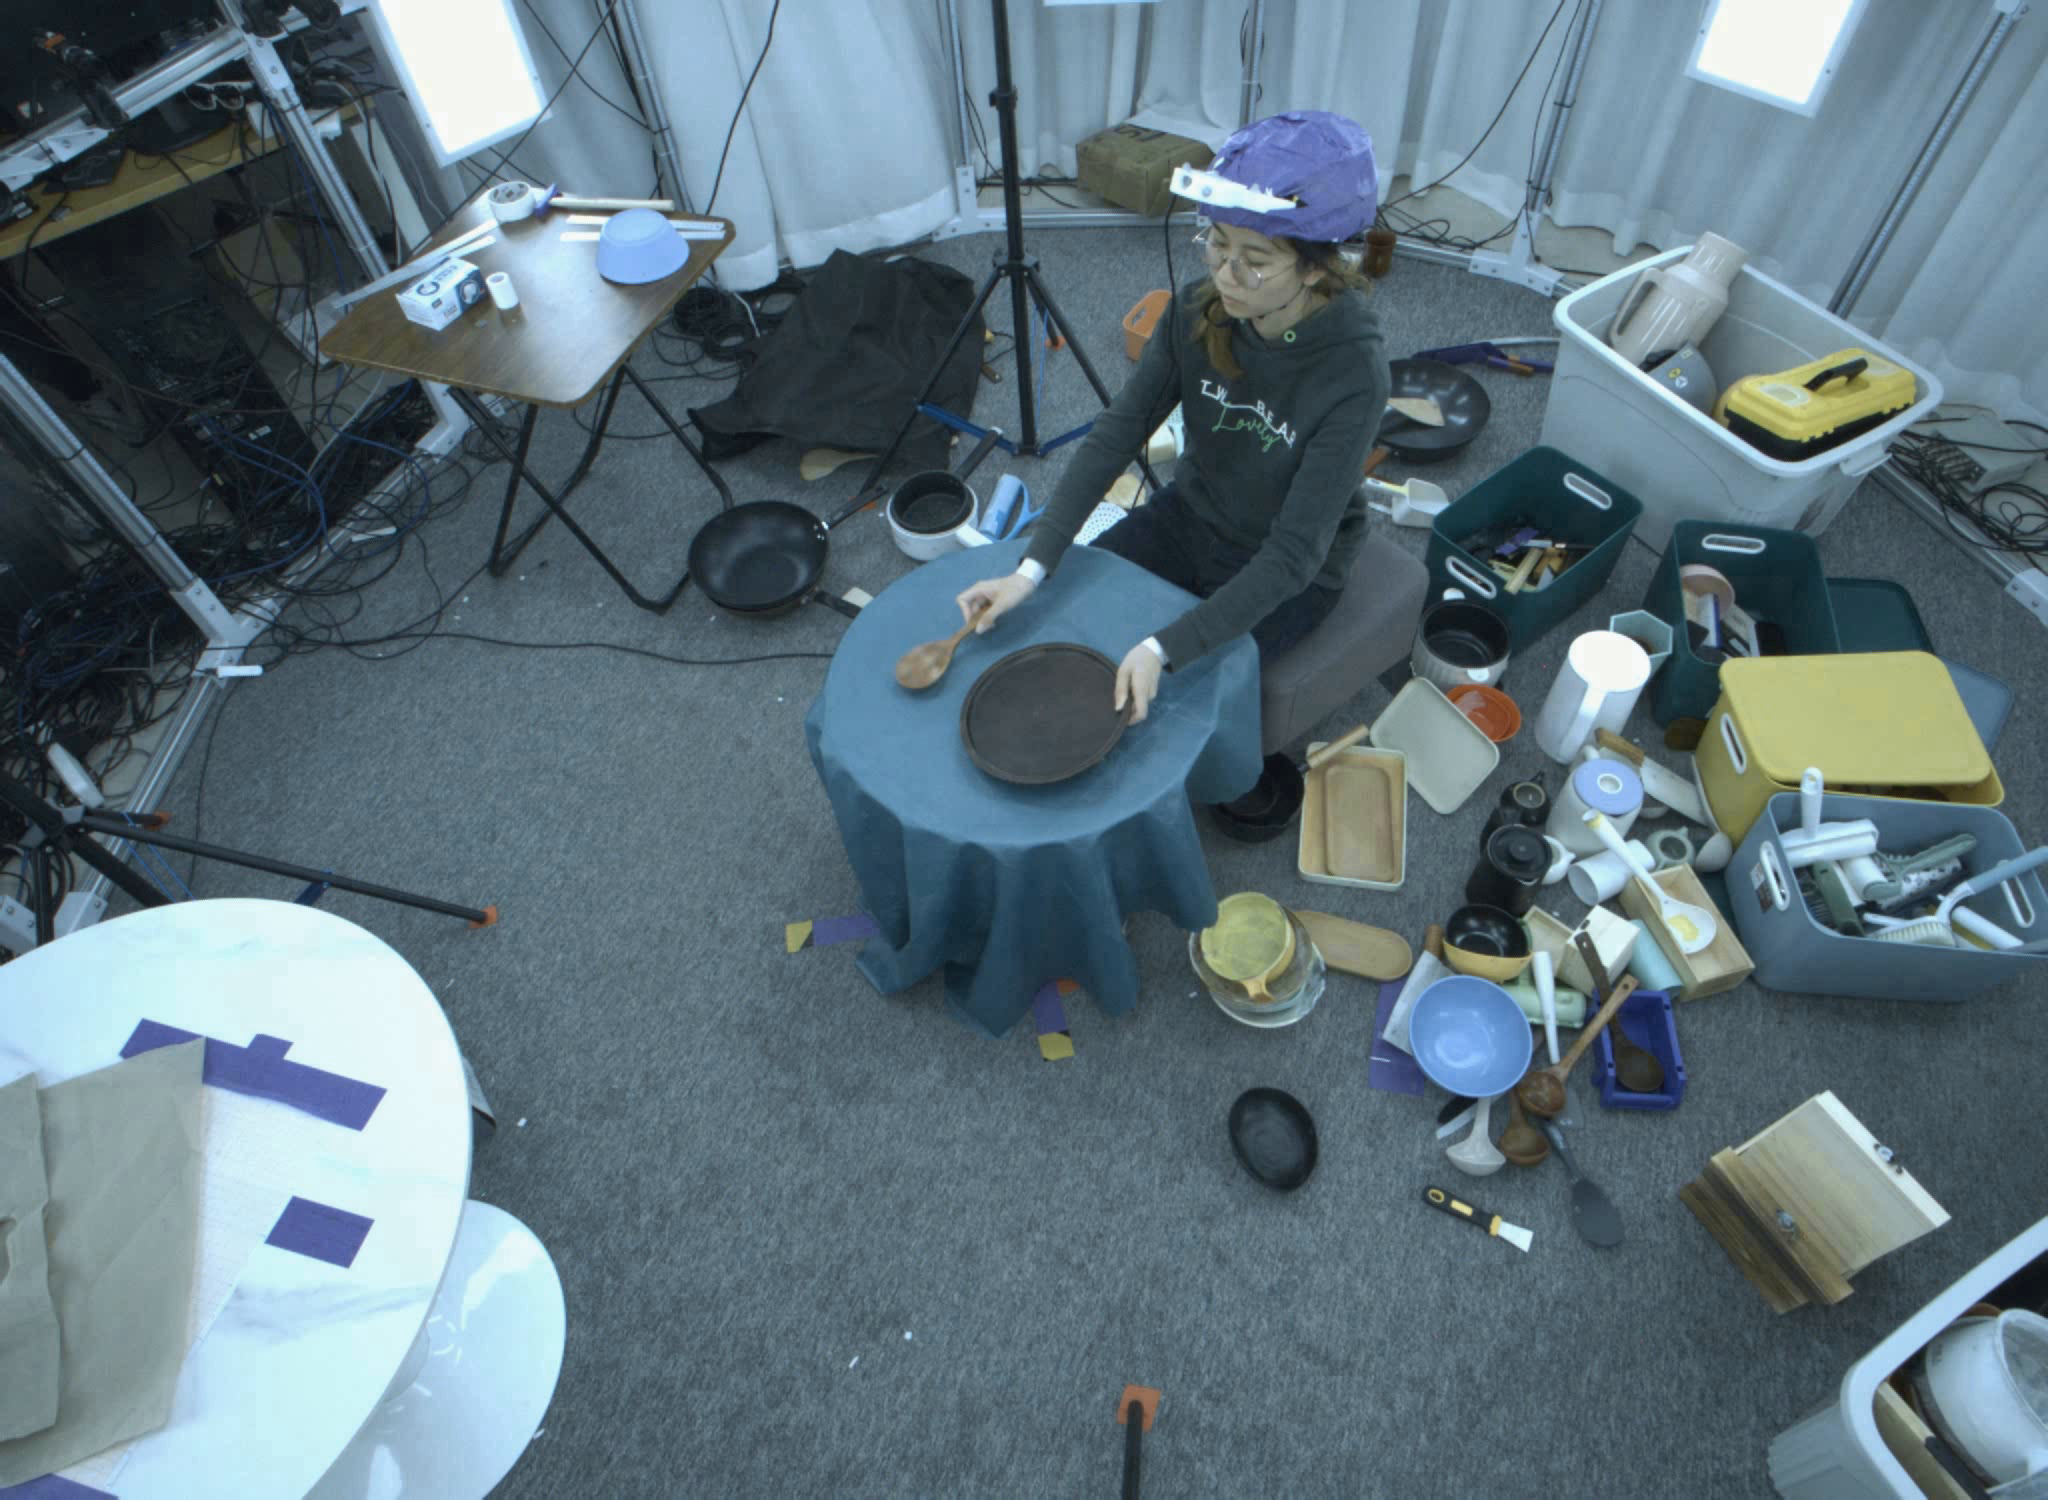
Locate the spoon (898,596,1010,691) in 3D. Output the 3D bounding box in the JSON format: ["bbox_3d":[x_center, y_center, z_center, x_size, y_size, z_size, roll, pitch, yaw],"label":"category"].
[{"bbox_3d":[-0.104,-0.163,1.877,0.217,0.017,0.074,-43,62,-16],"label":"spoon"}]

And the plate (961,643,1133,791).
[{"bbox_3d":[0.033,-0.048,1.782,0.253,0.029,0.252,-5,57,9],"label":"plate"}]
